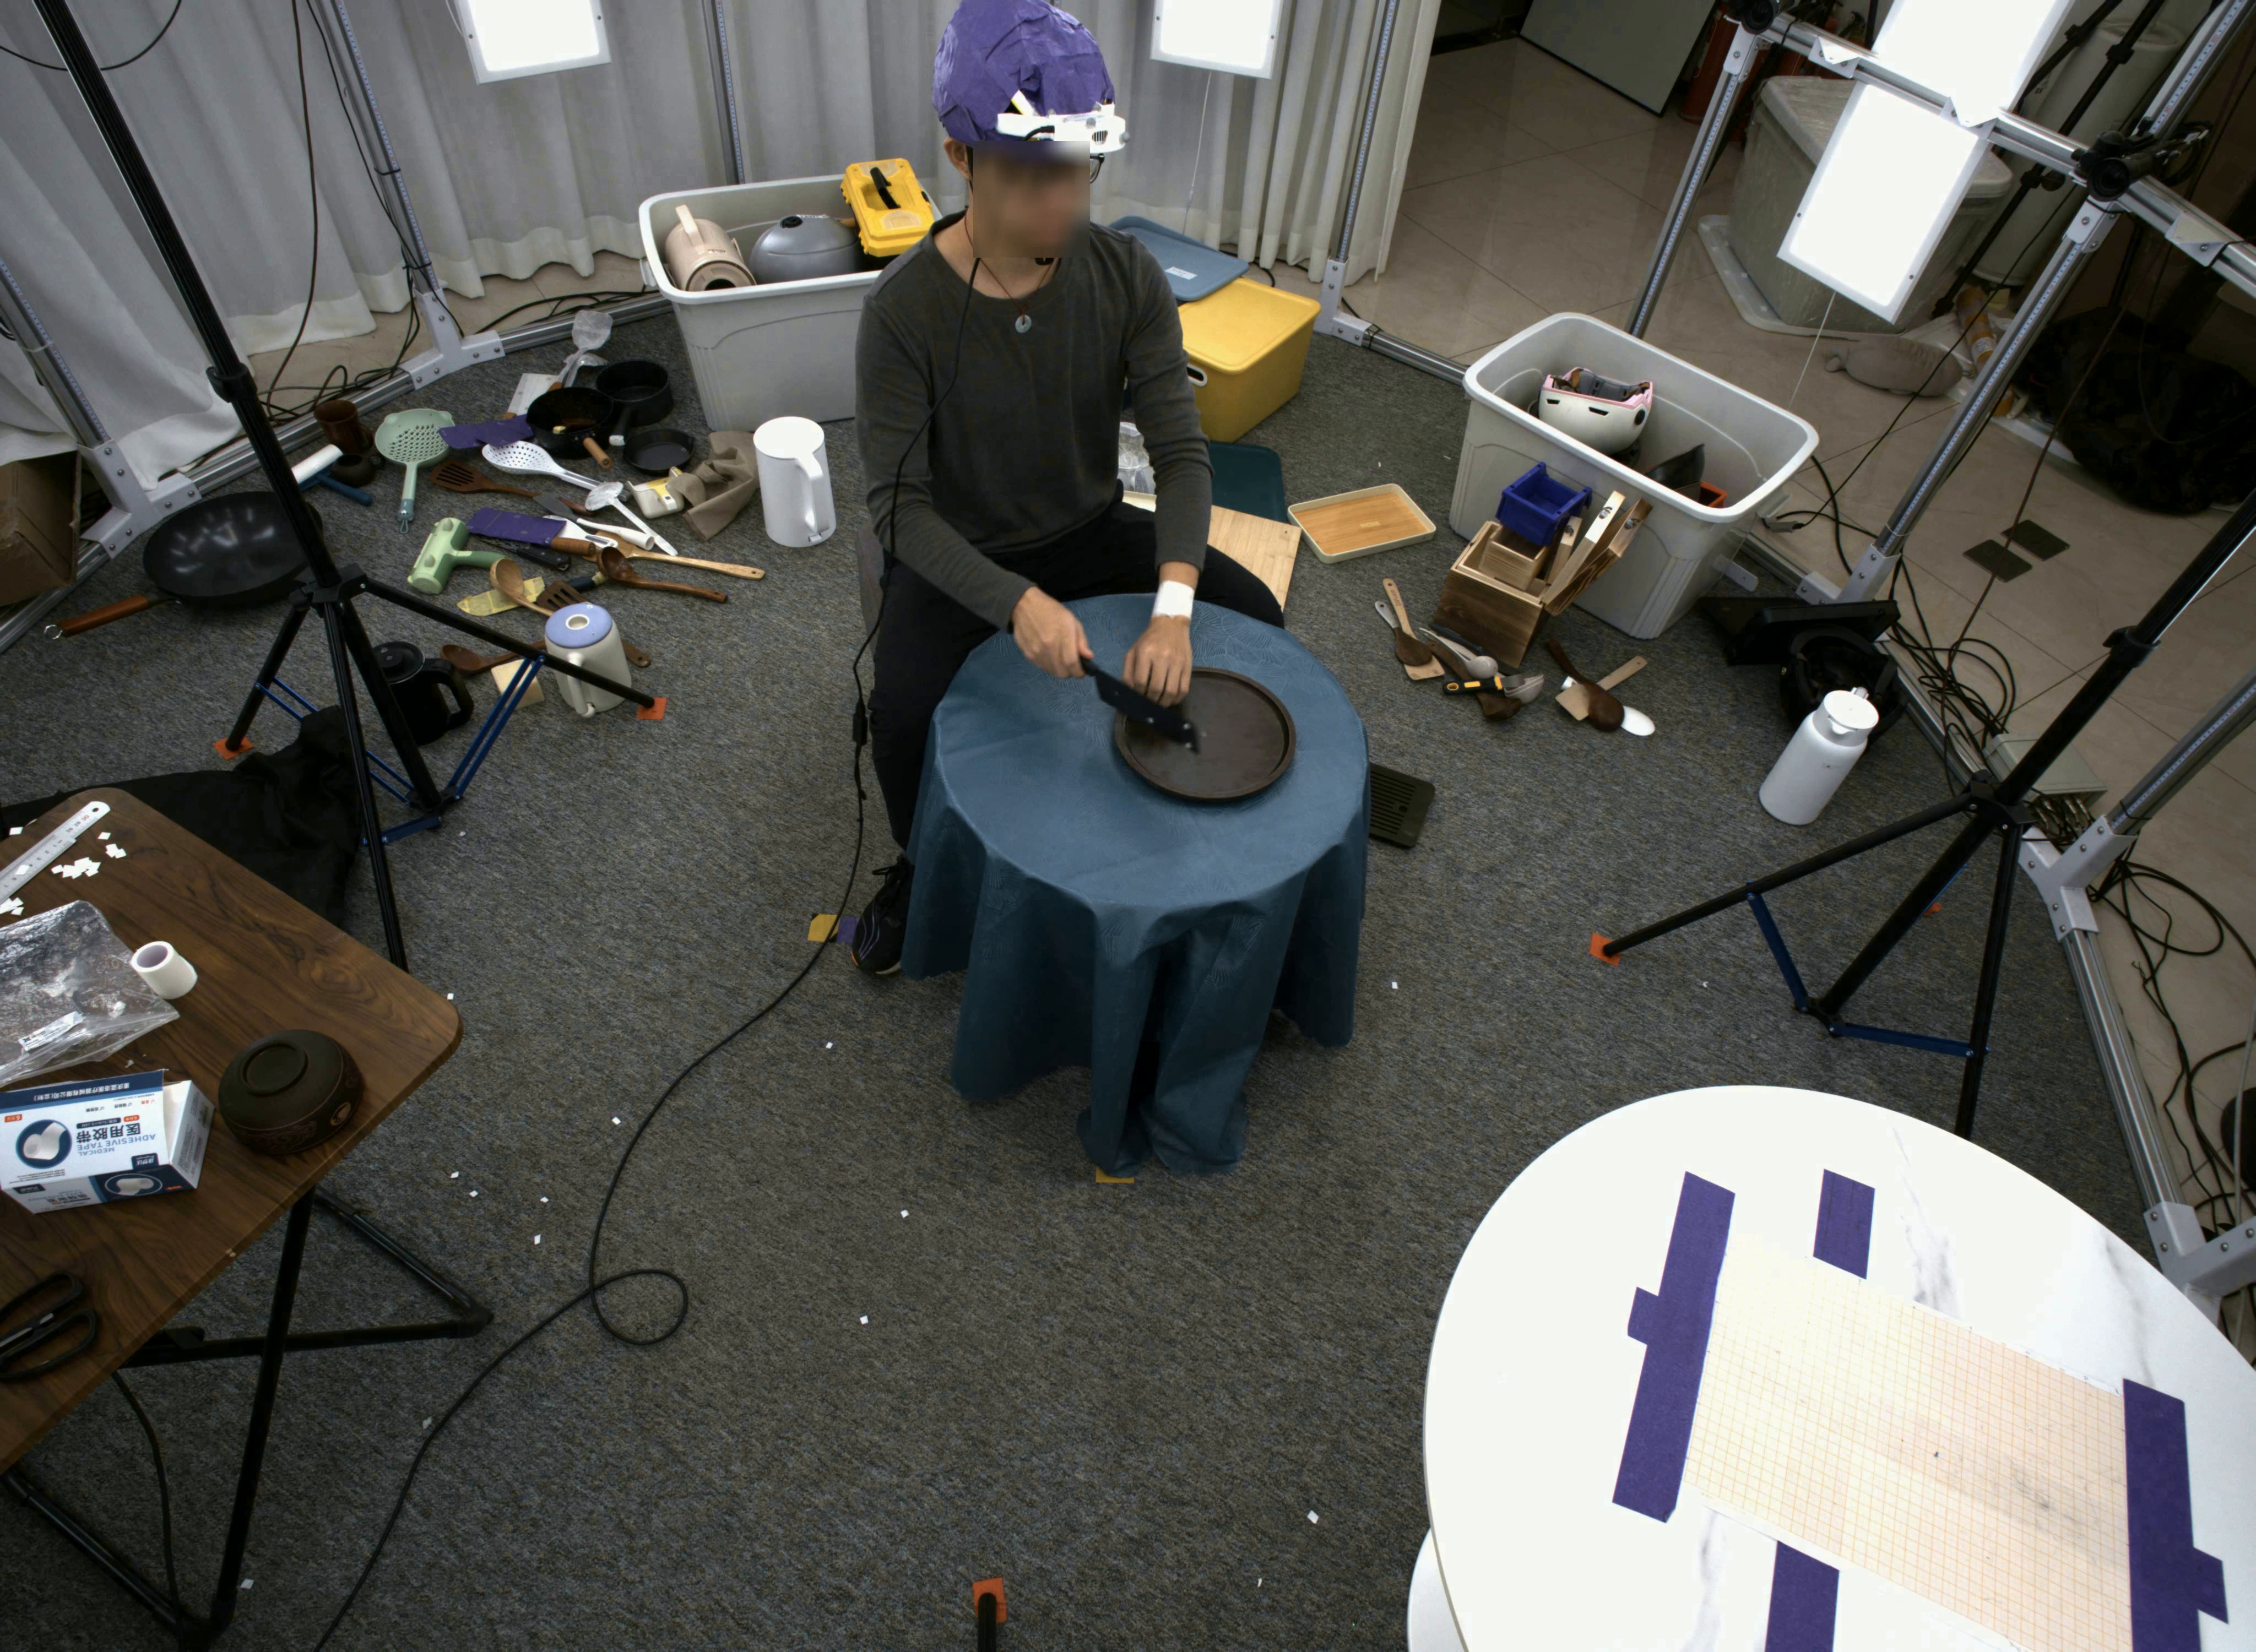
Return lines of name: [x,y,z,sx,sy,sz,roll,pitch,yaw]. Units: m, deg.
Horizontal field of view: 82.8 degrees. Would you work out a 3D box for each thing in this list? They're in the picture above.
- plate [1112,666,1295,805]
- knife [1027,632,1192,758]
plate: [0.104,-0.127,1.770,0.254,0.028,0.261,1,50,-2]
knife: [-0.027,-0.177,1.687,0.021,0.079,0.307,-41,58,-21]
